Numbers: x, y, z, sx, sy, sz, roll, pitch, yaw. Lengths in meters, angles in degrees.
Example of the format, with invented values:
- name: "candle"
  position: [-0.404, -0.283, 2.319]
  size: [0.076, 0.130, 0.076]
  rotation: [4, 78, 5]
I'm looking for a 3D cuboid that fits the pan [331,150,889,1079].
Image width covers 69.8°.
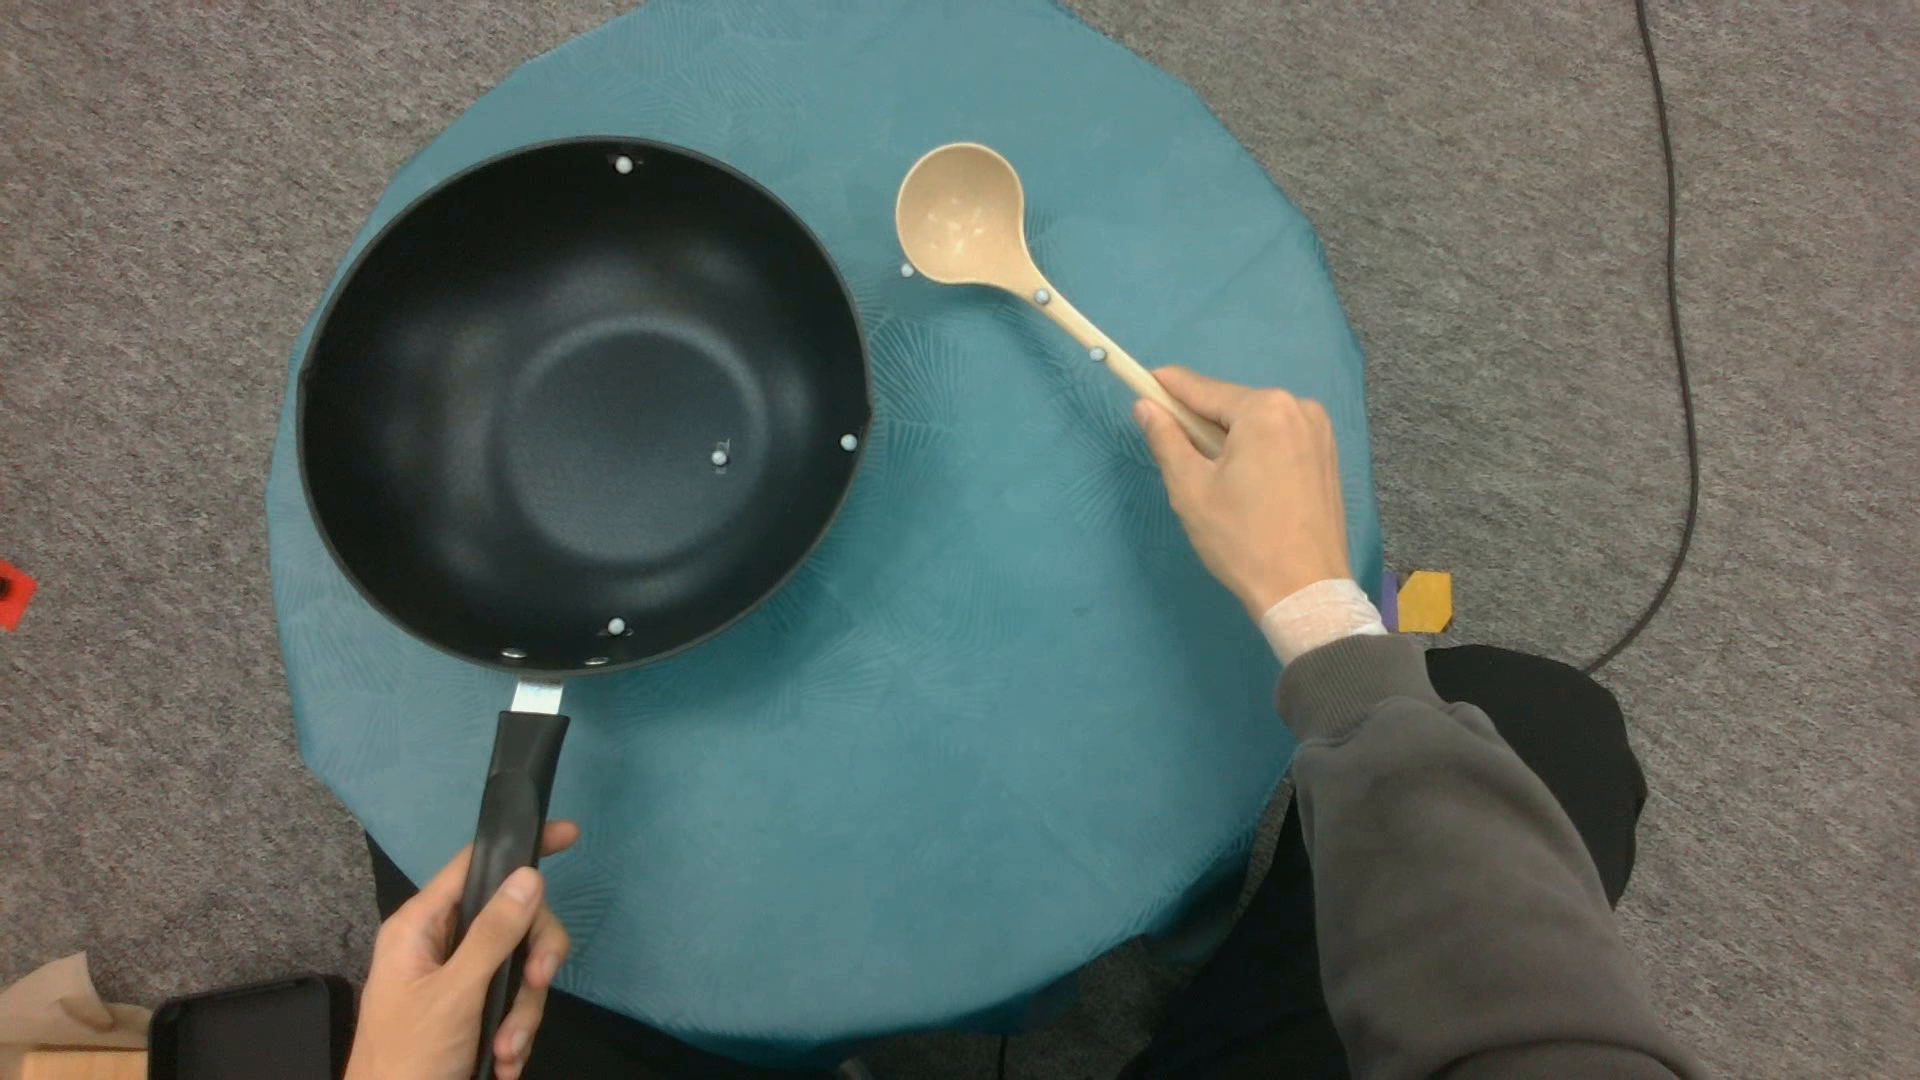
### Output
- name: "pan"
  position: [-0.185, 0.029, 0.706]
  size: [0.288, 0.086, 0.464]
  rotation: [5, 77, 5]

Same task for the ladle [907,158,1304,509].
- name: "ladle"
  position: [0.071, -0.106, 0.695]
  size: [0.072, 0.073, 0.254]
  rotation: [-47, 65, -1]
